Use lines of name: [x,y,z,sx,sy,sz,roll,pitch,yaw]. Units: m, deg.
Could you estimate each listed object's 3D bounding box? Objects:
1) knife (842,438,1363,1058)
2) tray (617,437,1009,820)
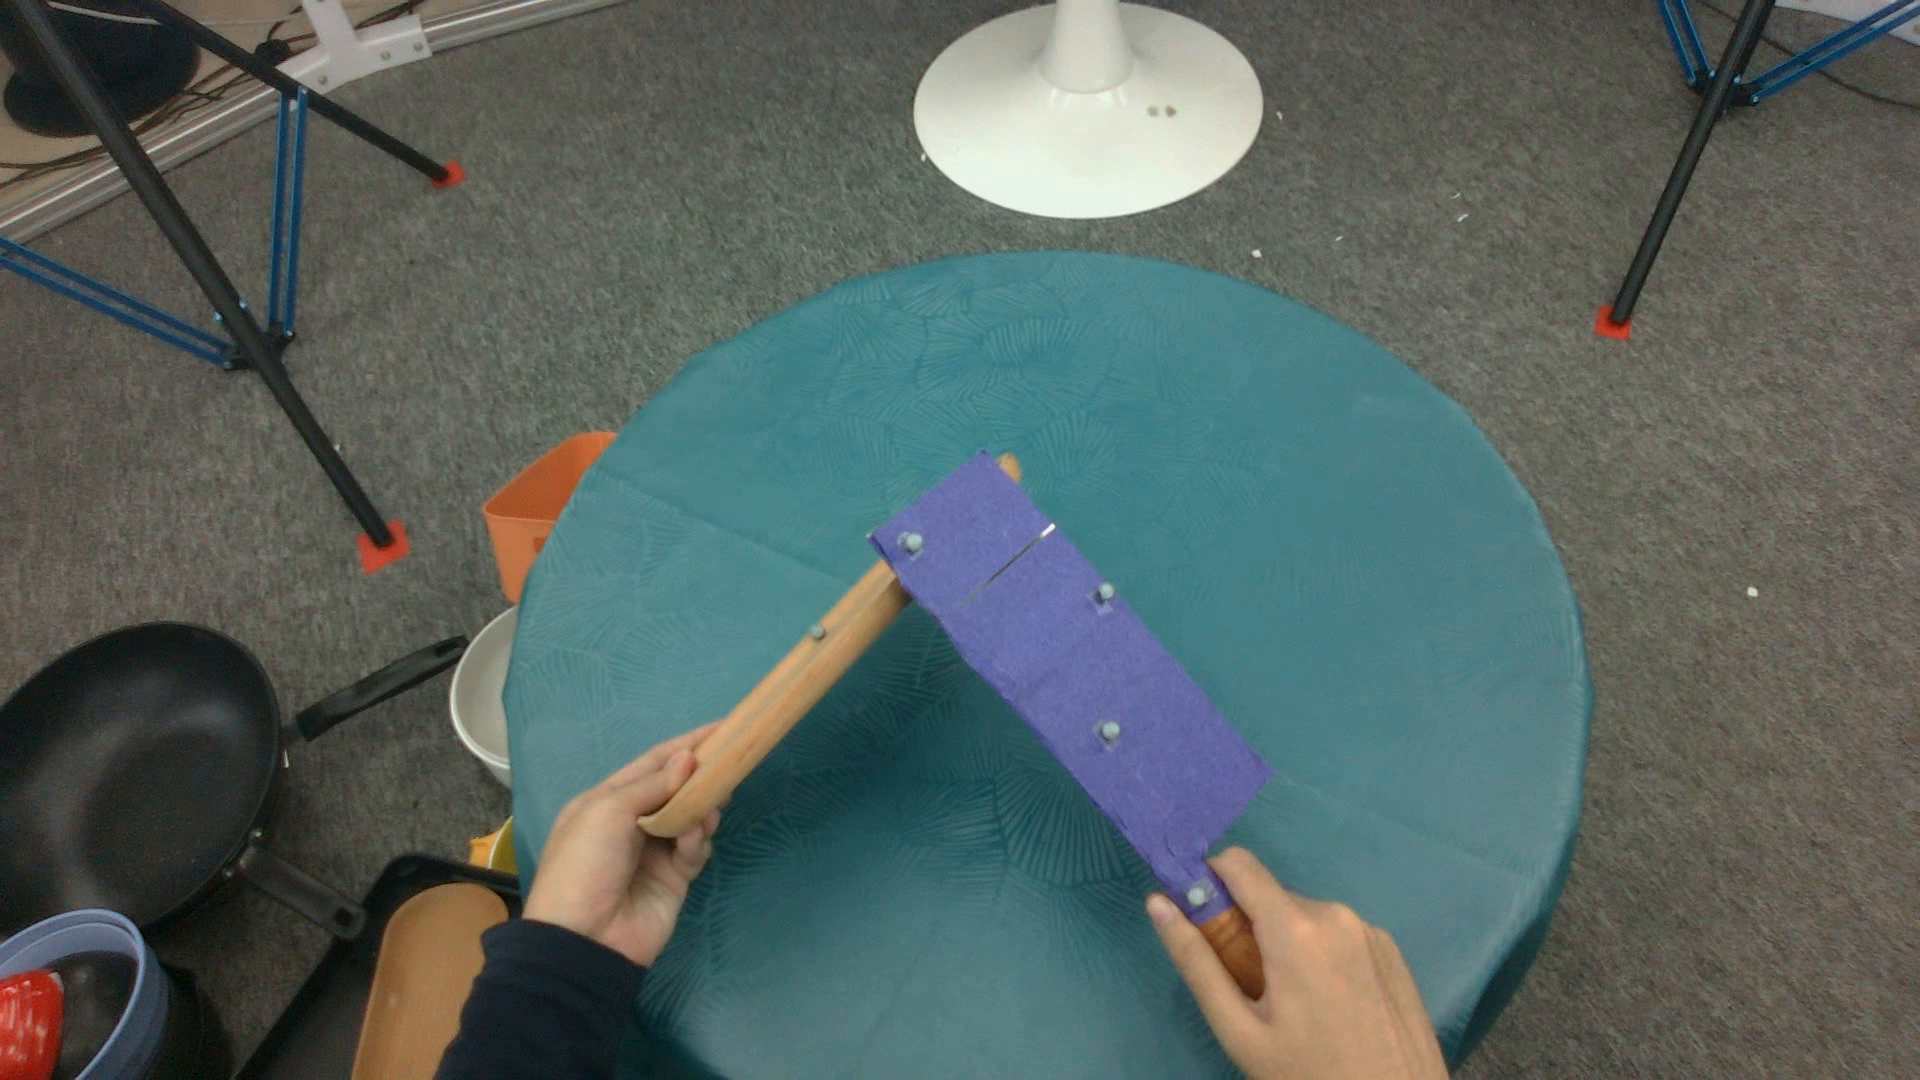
knife: [0.081,0.082,0.623,0.315,0.032,0.104,49,53,4]
tray: [-0.071,0.043,0.687,0.023,0.130,0.251,45,70,-5]
